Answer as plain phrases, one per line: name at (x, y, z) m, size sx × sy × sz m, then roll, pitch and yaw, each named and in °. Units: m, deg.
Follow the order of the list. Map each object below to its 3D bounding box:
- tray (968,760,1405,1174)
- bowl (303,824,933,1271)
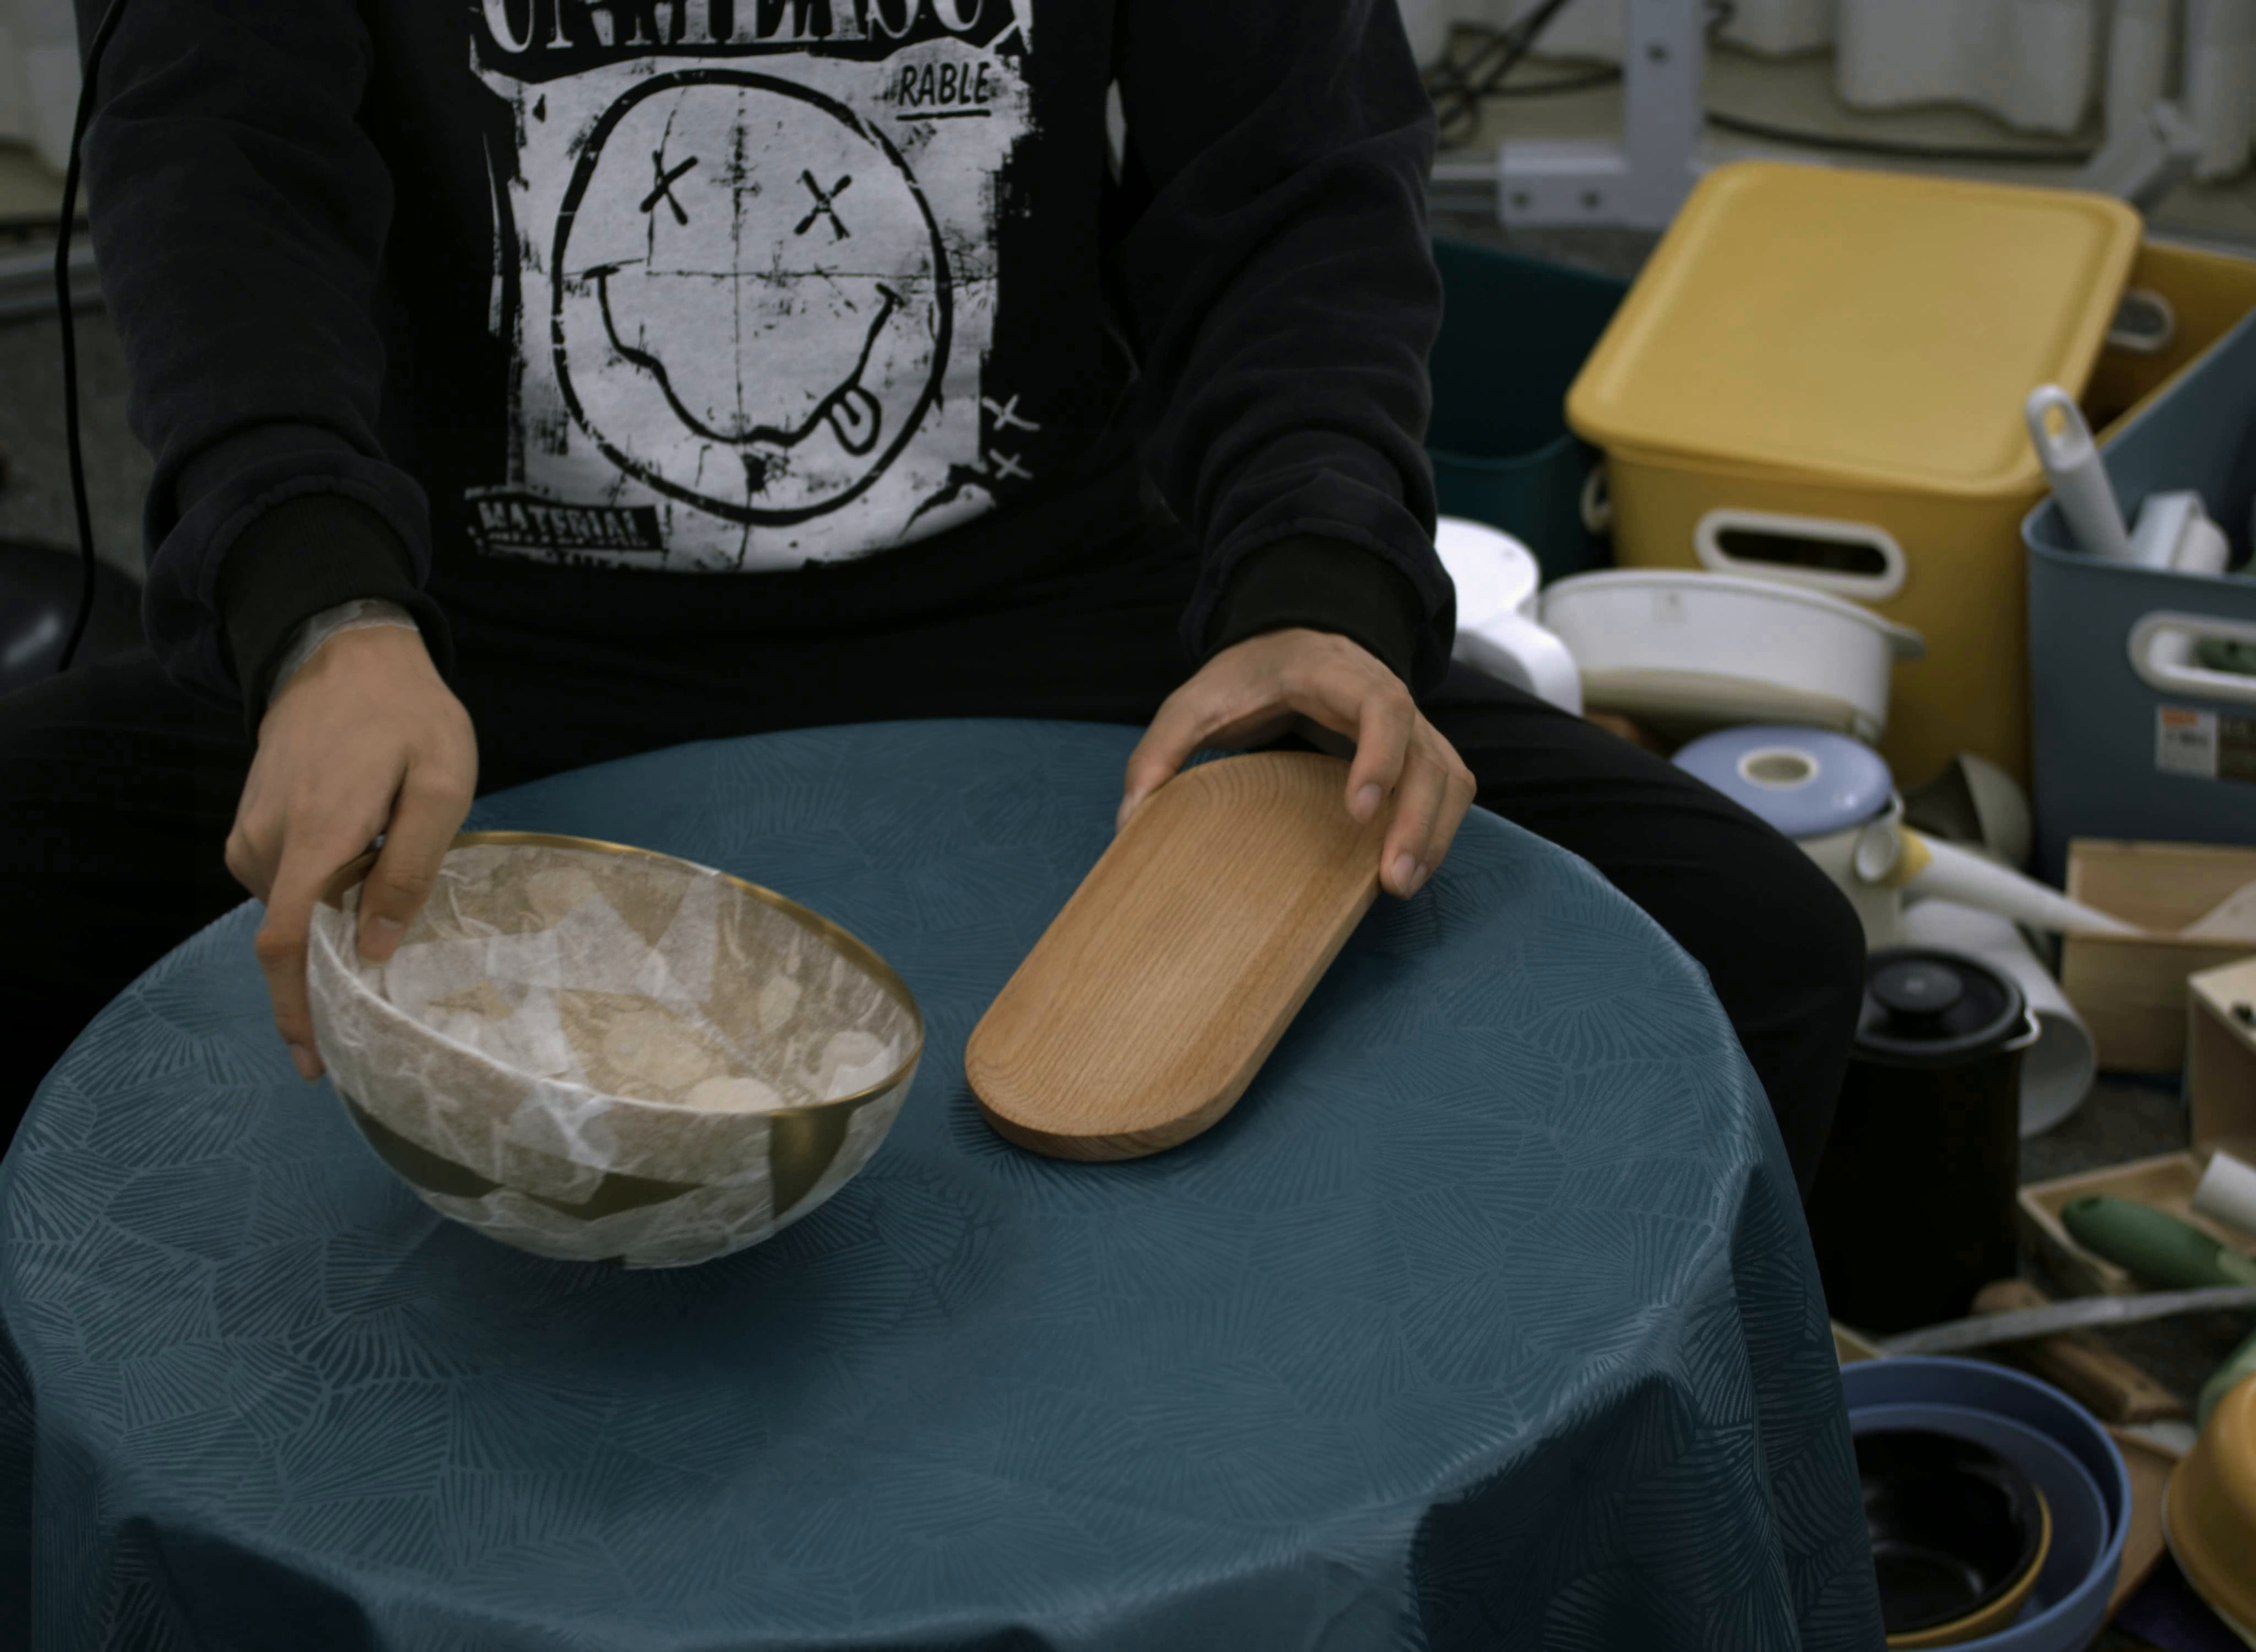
tray at (0.023, 0.047, 1.958) m, size 0.101 × 0.020 × 0.235 m, roll 7°, pitch 38°, yaw 24°
bowl at (-0.170, 0.085, 1.818) m, size 0.214 × 0.094 × 0.217 m, roll 13°, pitch 20°, yaw -4°
